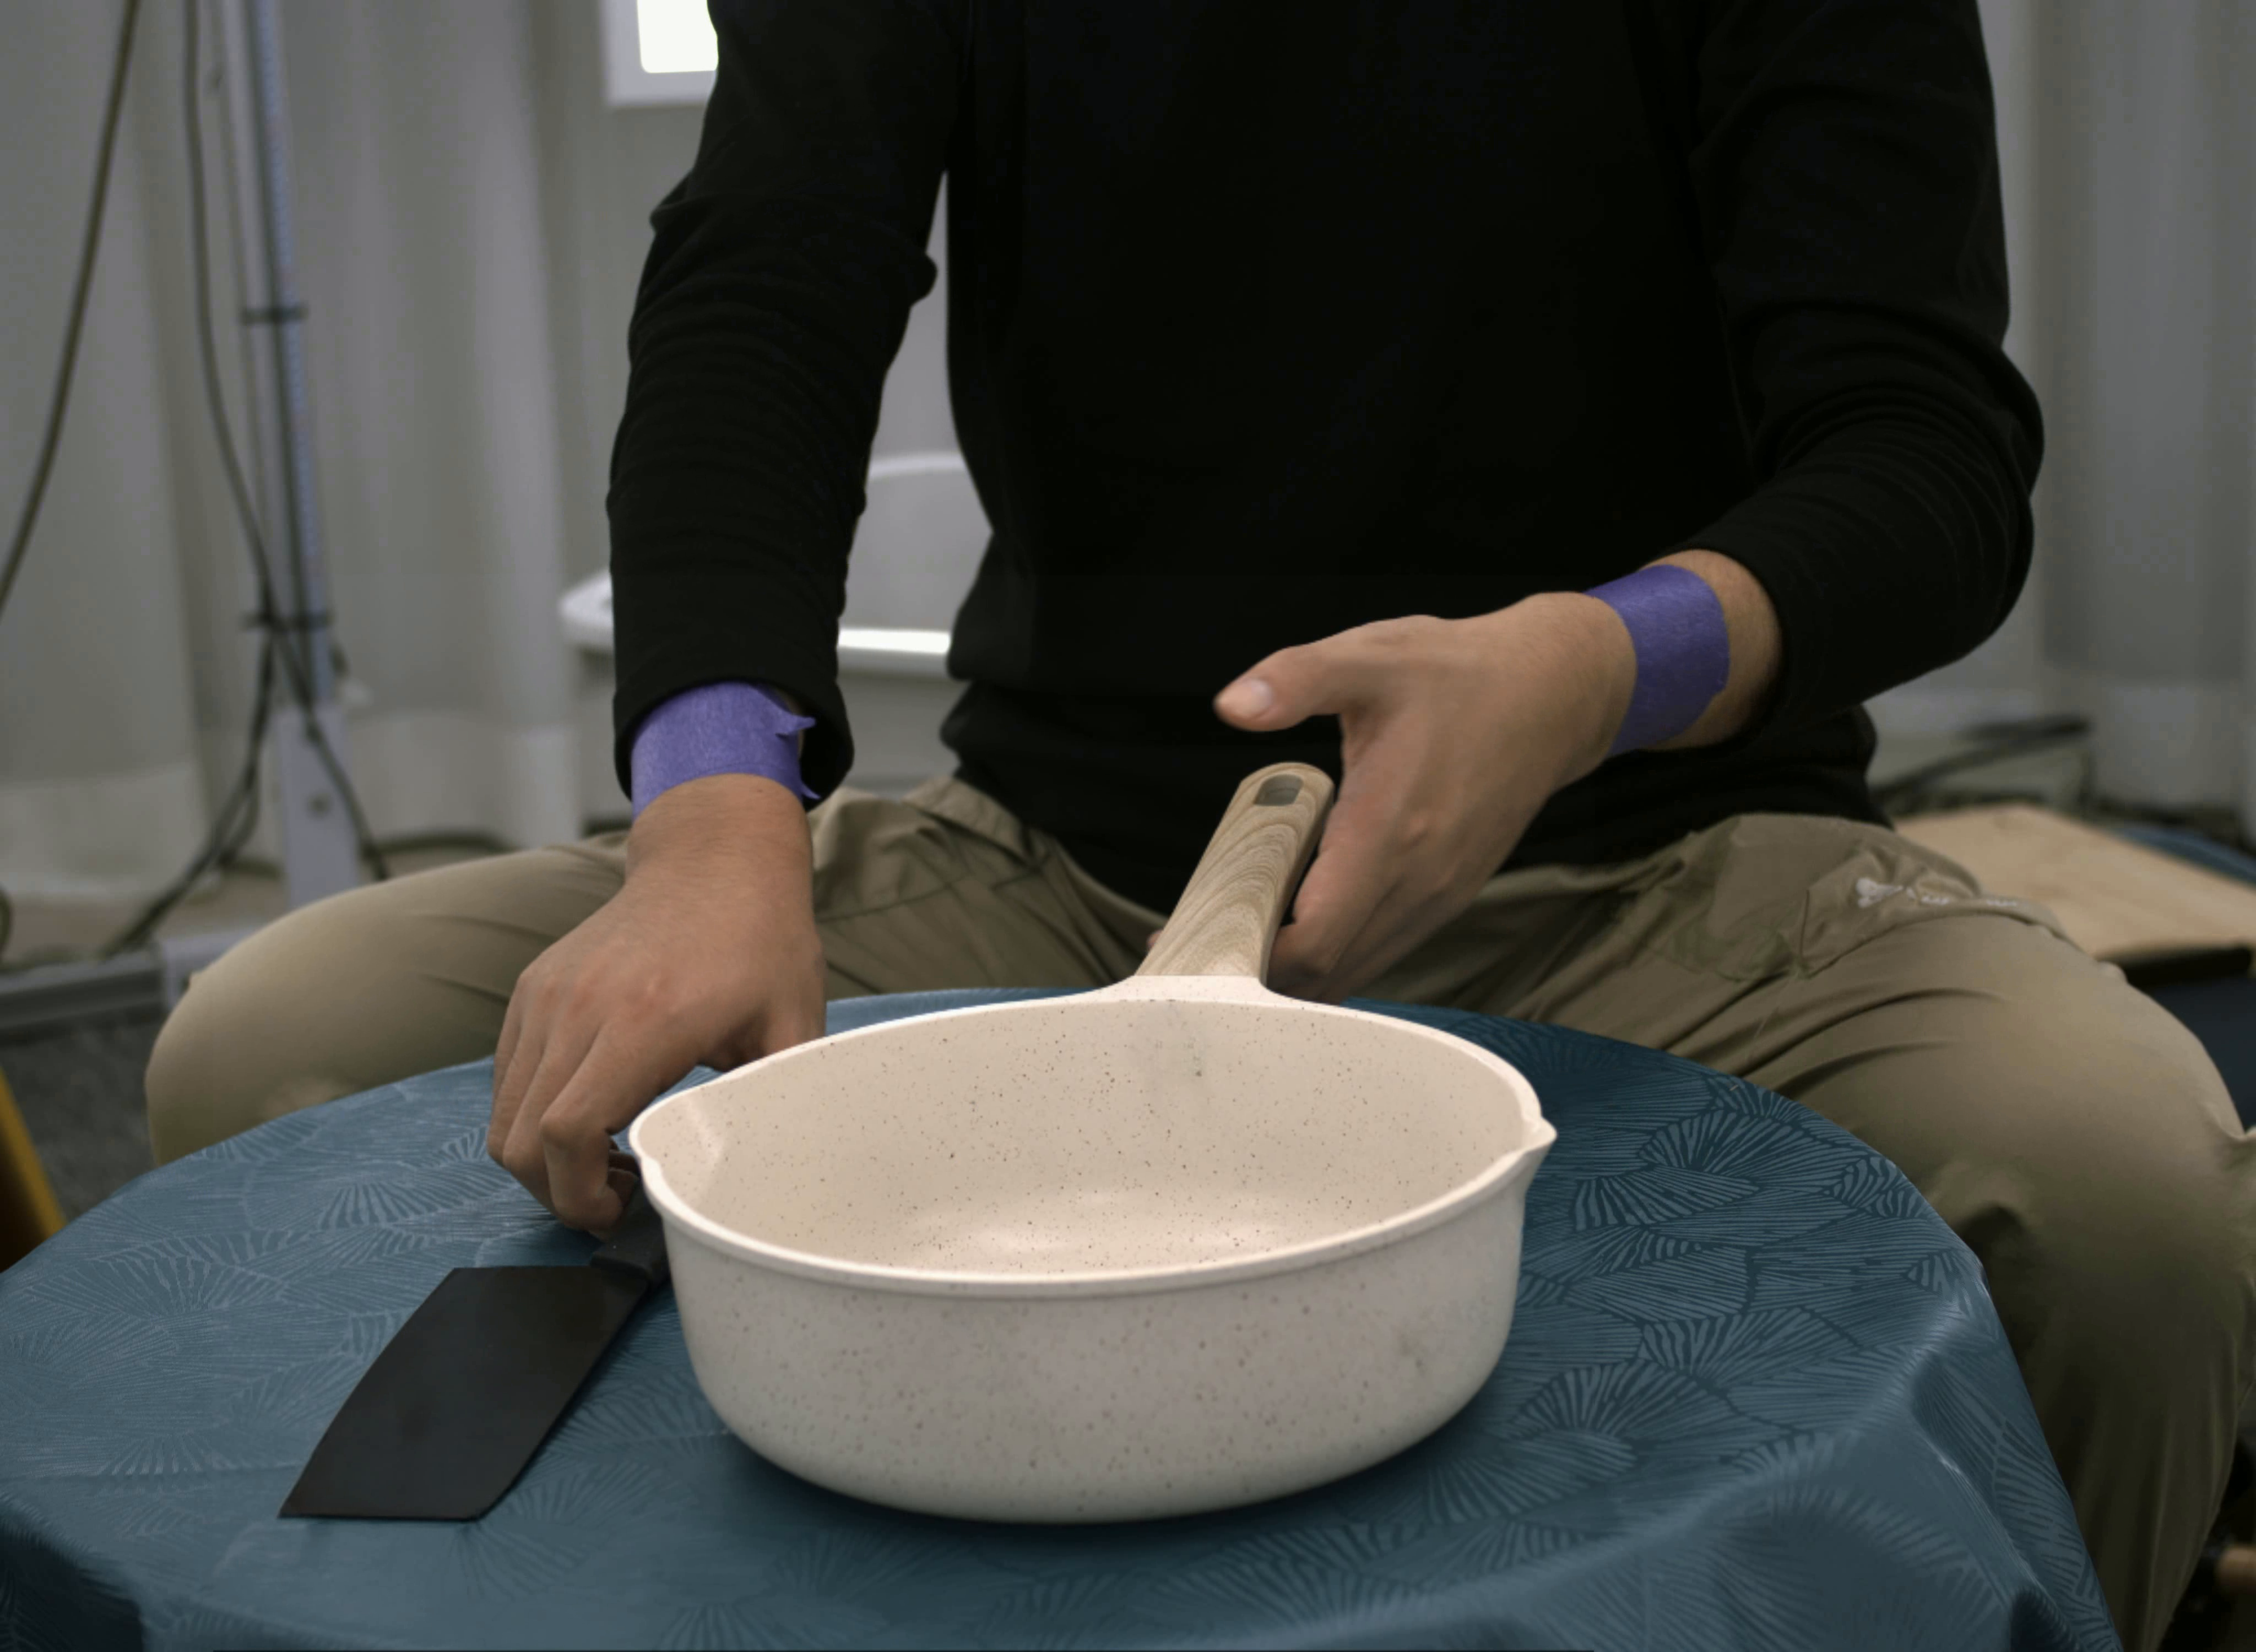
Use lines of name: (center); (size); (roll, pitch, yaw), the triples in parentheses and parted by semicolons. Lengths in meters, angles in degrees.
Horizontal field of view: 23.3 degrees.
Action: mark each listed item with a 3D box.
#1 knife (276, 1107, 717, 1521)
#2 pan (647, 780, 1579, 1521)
knife: (-0.172, 0.142, 1.616); (0.081, 0.021, 0.304); (2, 18, 16)
pan: (0.015, 0.090, 1.613); (0.263, 0.101, 0.437); (-1, 15, 12)
